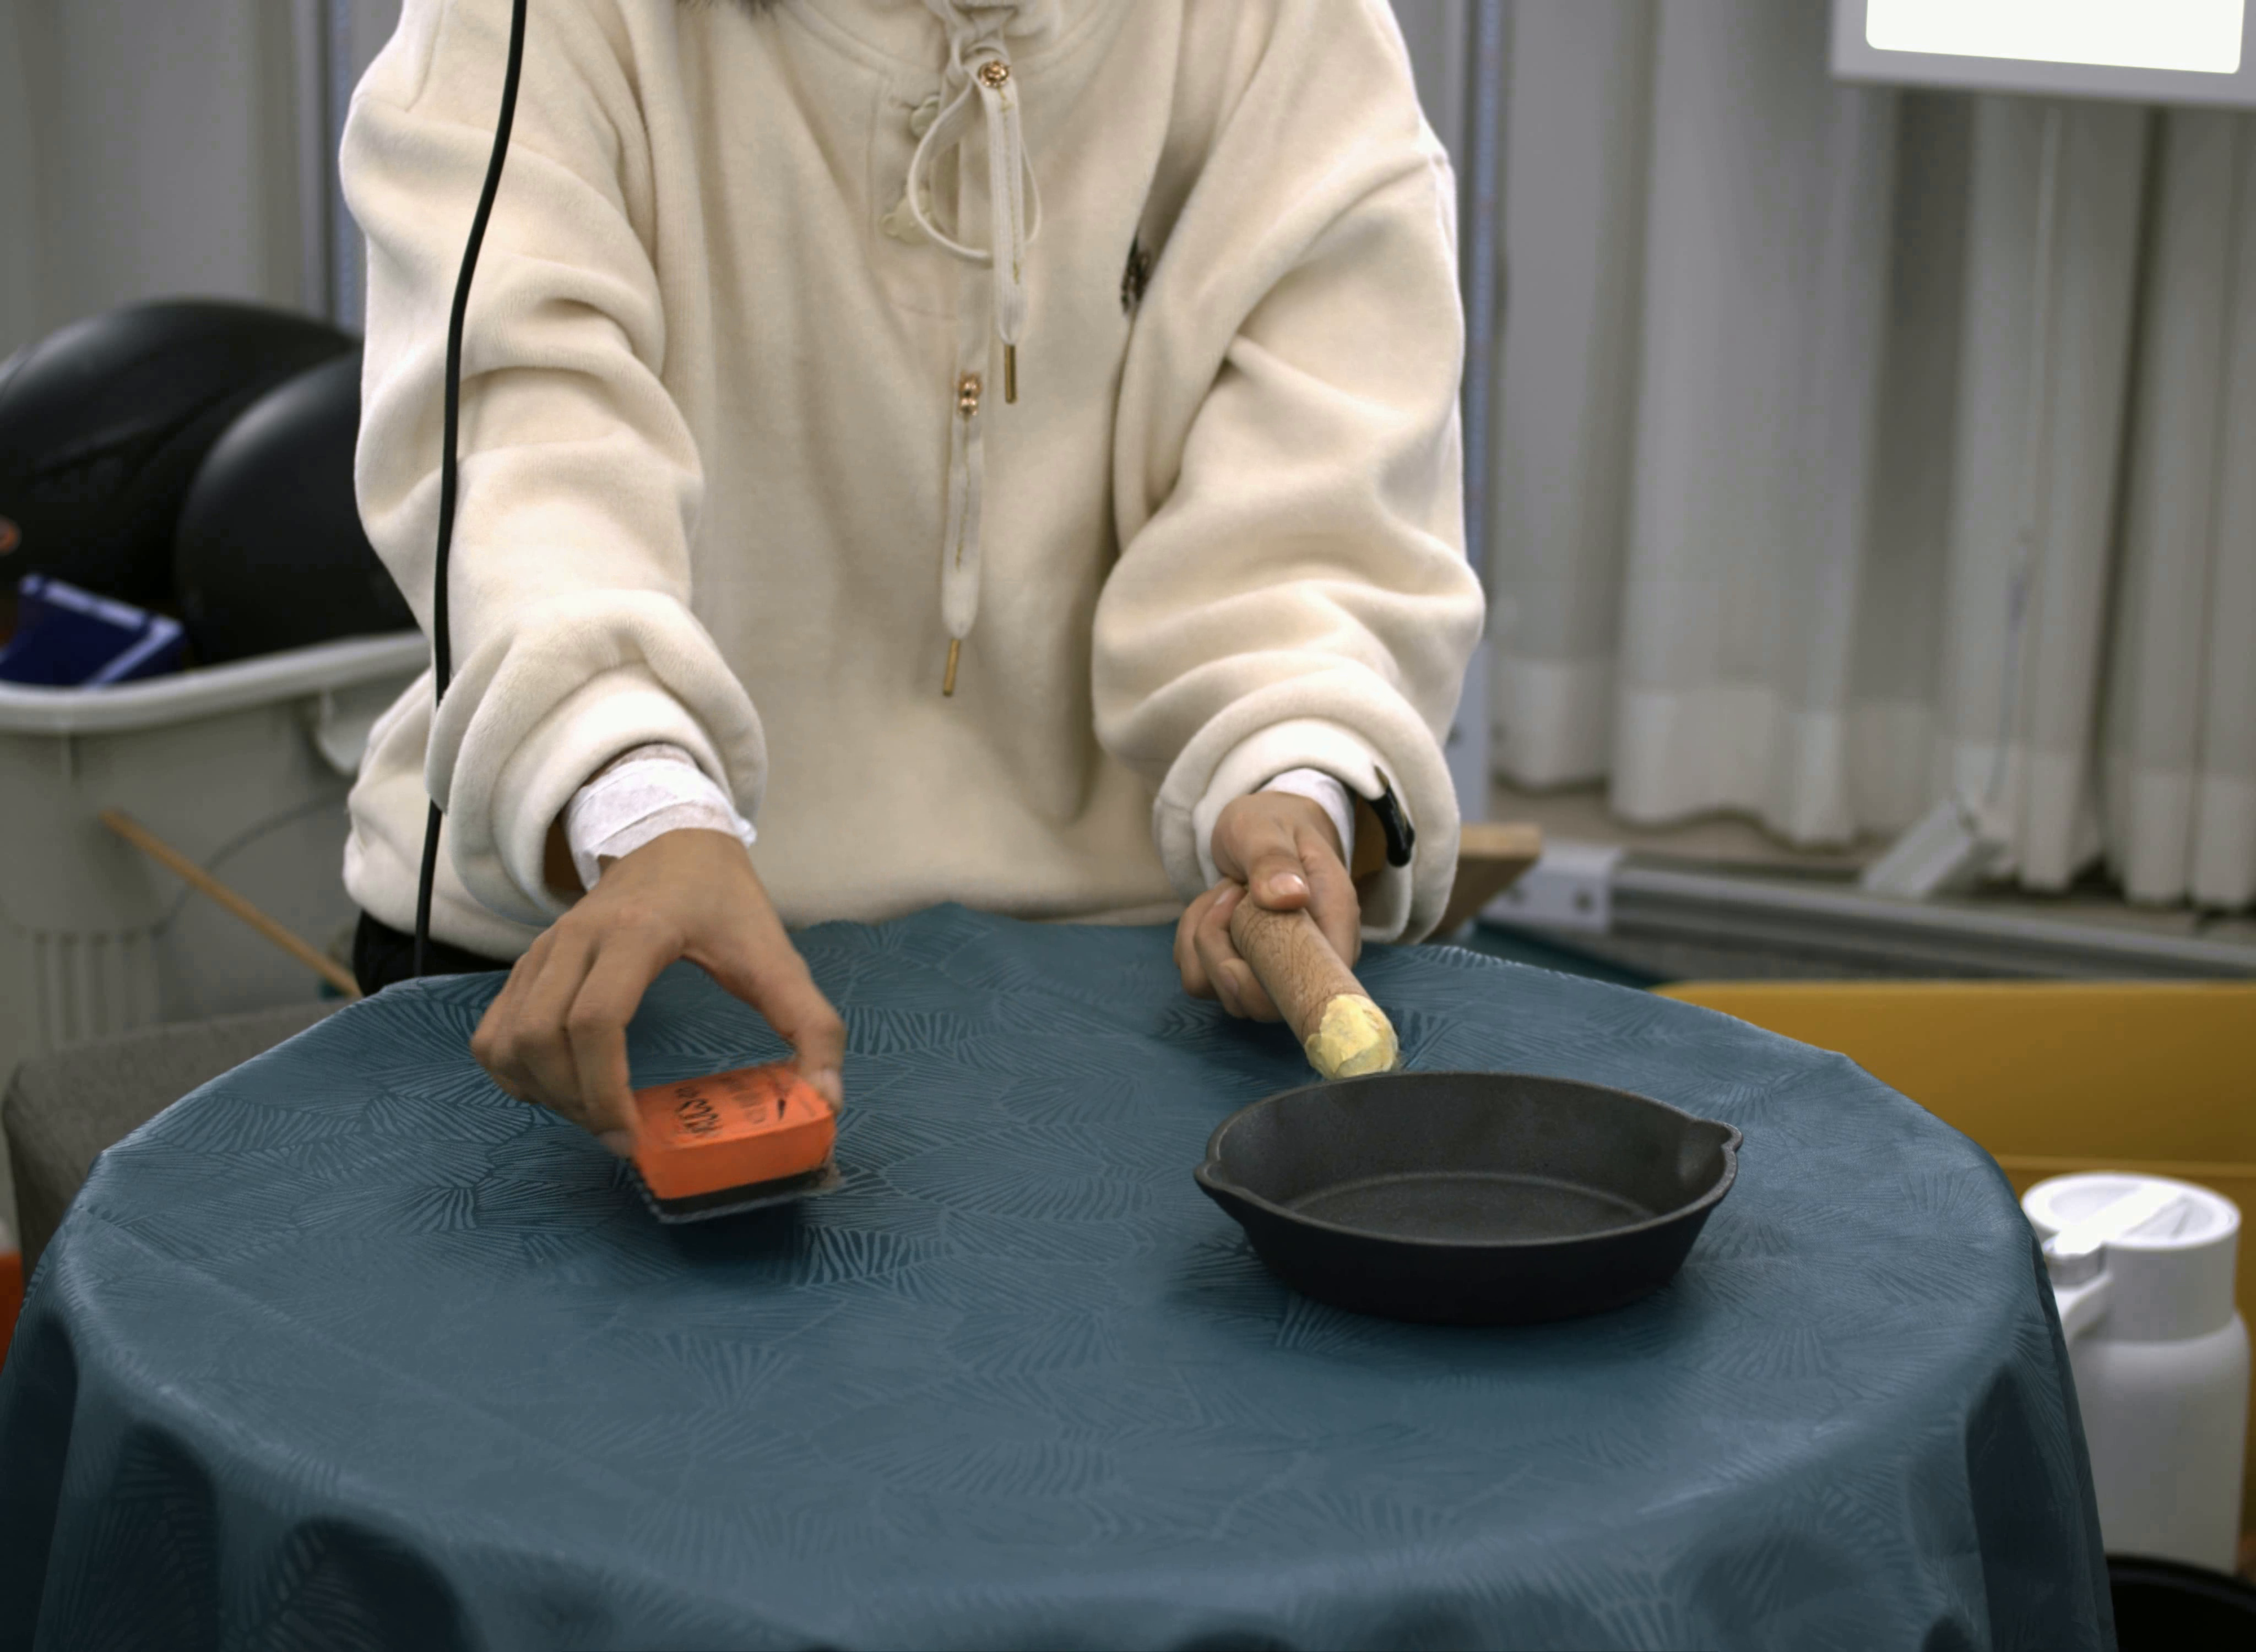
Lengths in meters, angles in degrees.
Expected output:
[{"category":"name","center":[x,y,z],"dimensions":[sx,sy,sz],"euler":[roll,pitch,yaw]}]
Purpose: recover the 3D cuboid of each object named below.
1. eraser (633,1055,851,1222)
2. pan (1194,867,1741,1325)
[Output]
[{"category":"eraser","center":[-0.118,0.094,1.599],"dimensions":[0.059,0.023,0.107],"euler":[-14,9,-7]},{"category":"pan","center":[0.082,0.081,1.640],"dimensions":[0.169,0.050,0.321],"euler":[-4,18,-13]}]
